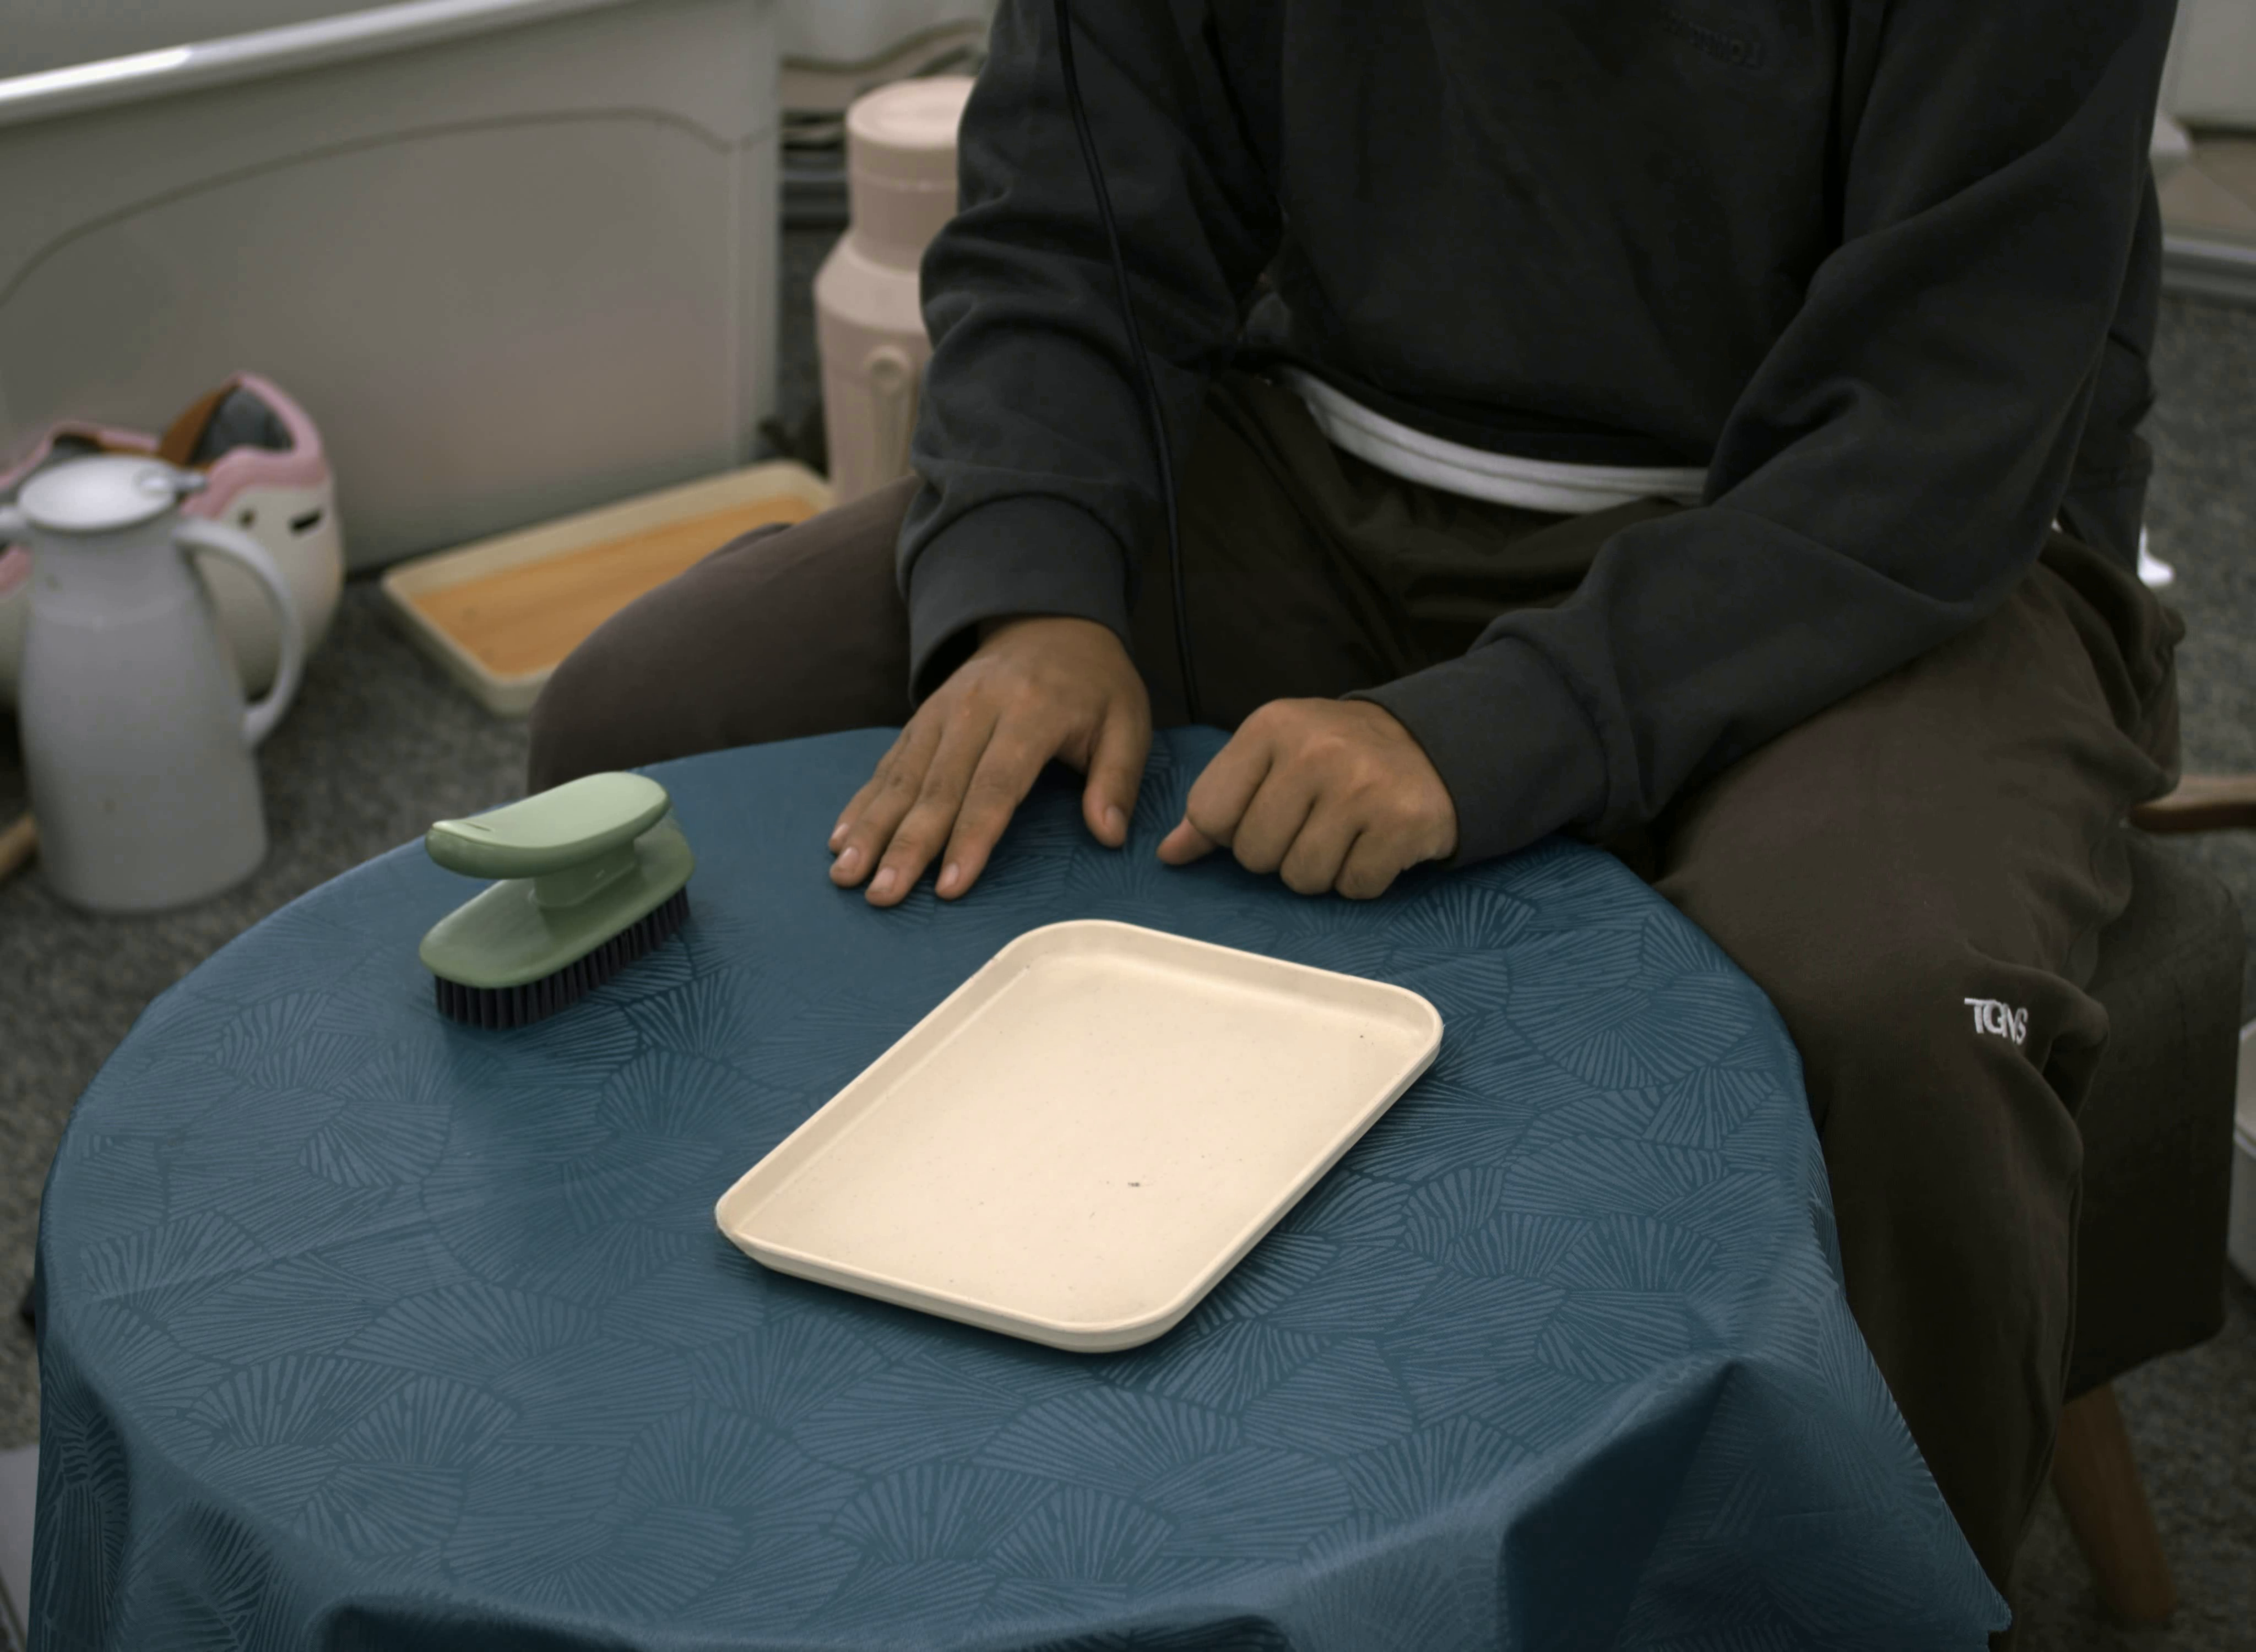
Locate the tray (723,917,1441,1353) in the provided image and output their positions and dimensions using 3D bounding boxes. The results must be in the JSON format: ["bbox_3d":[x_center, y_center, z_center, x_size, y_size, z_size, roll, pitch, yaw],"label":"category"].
[{"bbox_3d":[-0.012,0.102,1.884,0.170,0.017,0.243,13,31,26],"label":"tray"}]

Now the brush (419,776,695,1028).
[{"bbox_3d":[-0.205,0.026,2.011,0.059,0.075,0.124,15,18,30],"label":"brush"}]
